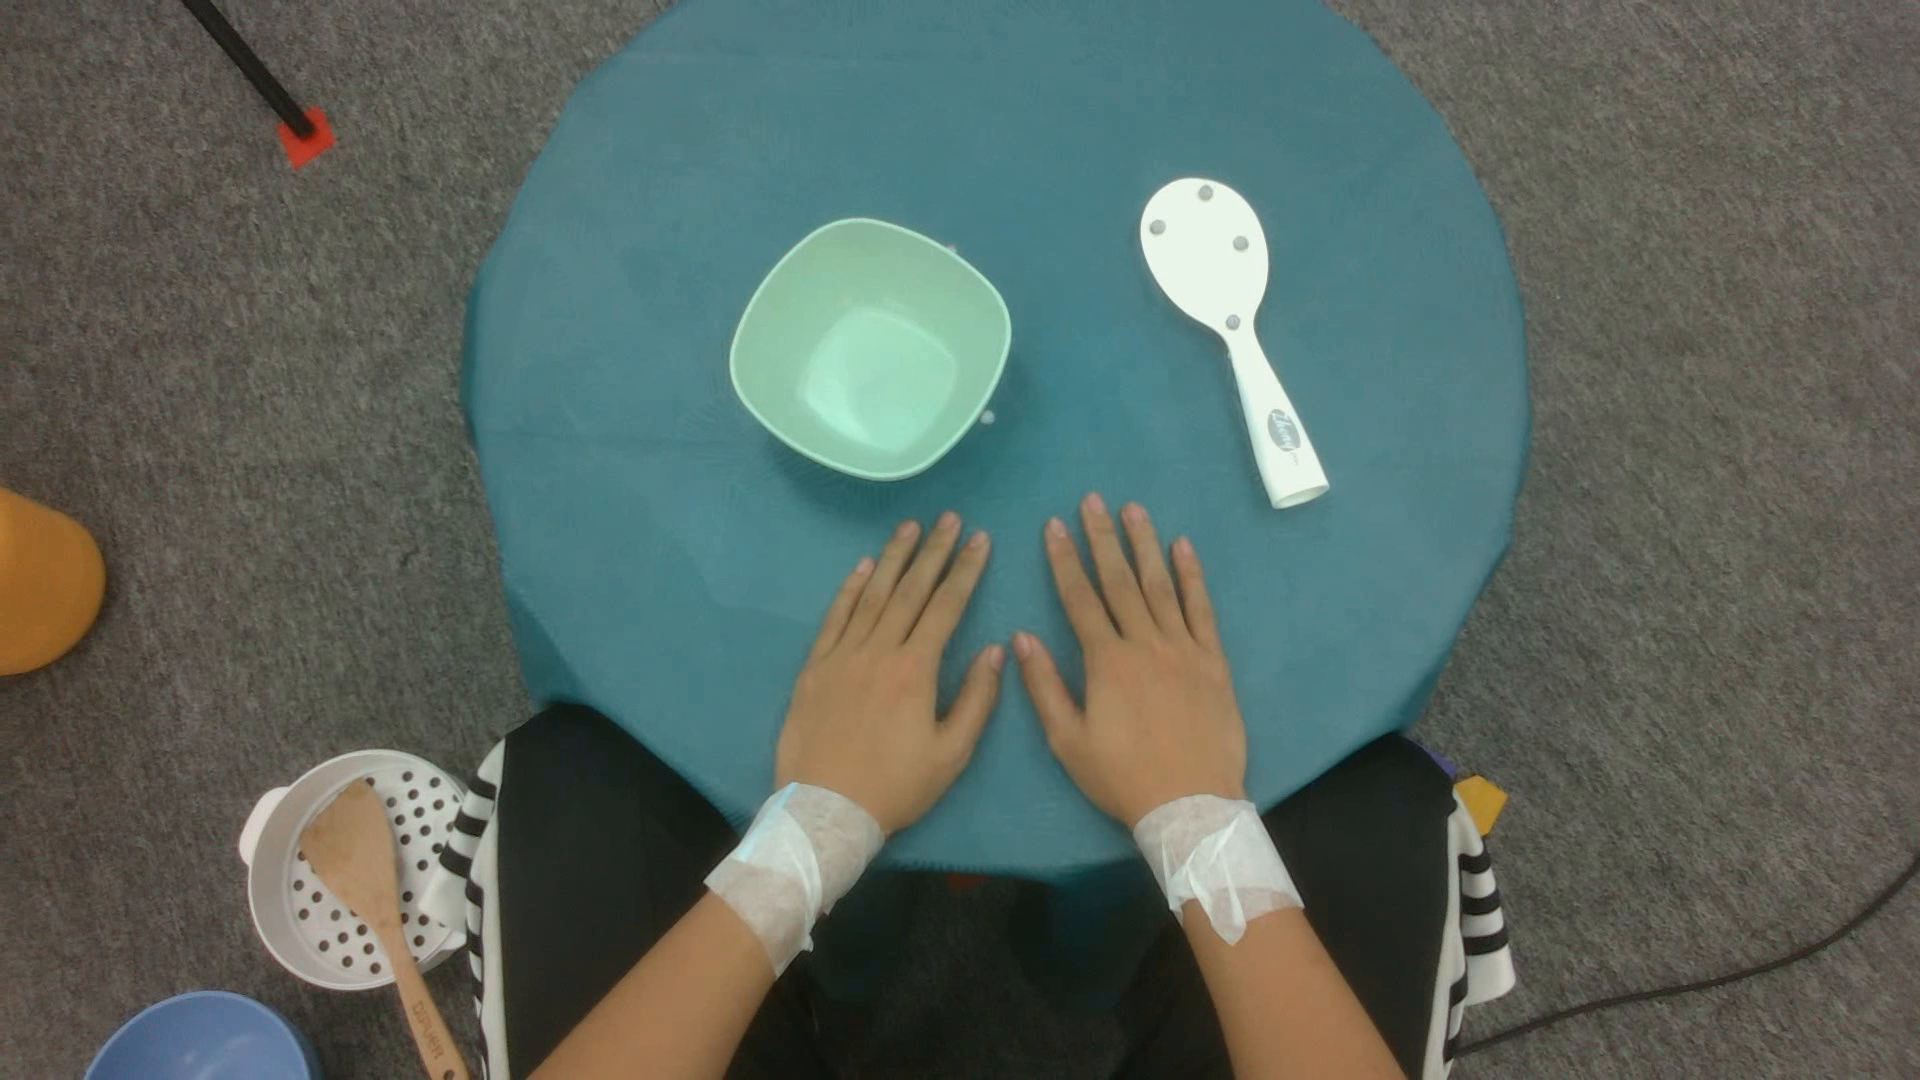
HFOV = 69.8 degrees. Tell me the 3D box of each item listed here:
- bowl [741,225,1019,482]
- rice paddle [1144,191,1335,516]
[{"bbox_3d":[-0.043,-0.095,0.766,0.151,0.058,0.152,1,72,-2],"label":"bowl"},{"bbox_3d":[0.160,-0.113,0.781,0.069,0.029,0.205,-17,73,-5],"label":"rice paddle"}]
